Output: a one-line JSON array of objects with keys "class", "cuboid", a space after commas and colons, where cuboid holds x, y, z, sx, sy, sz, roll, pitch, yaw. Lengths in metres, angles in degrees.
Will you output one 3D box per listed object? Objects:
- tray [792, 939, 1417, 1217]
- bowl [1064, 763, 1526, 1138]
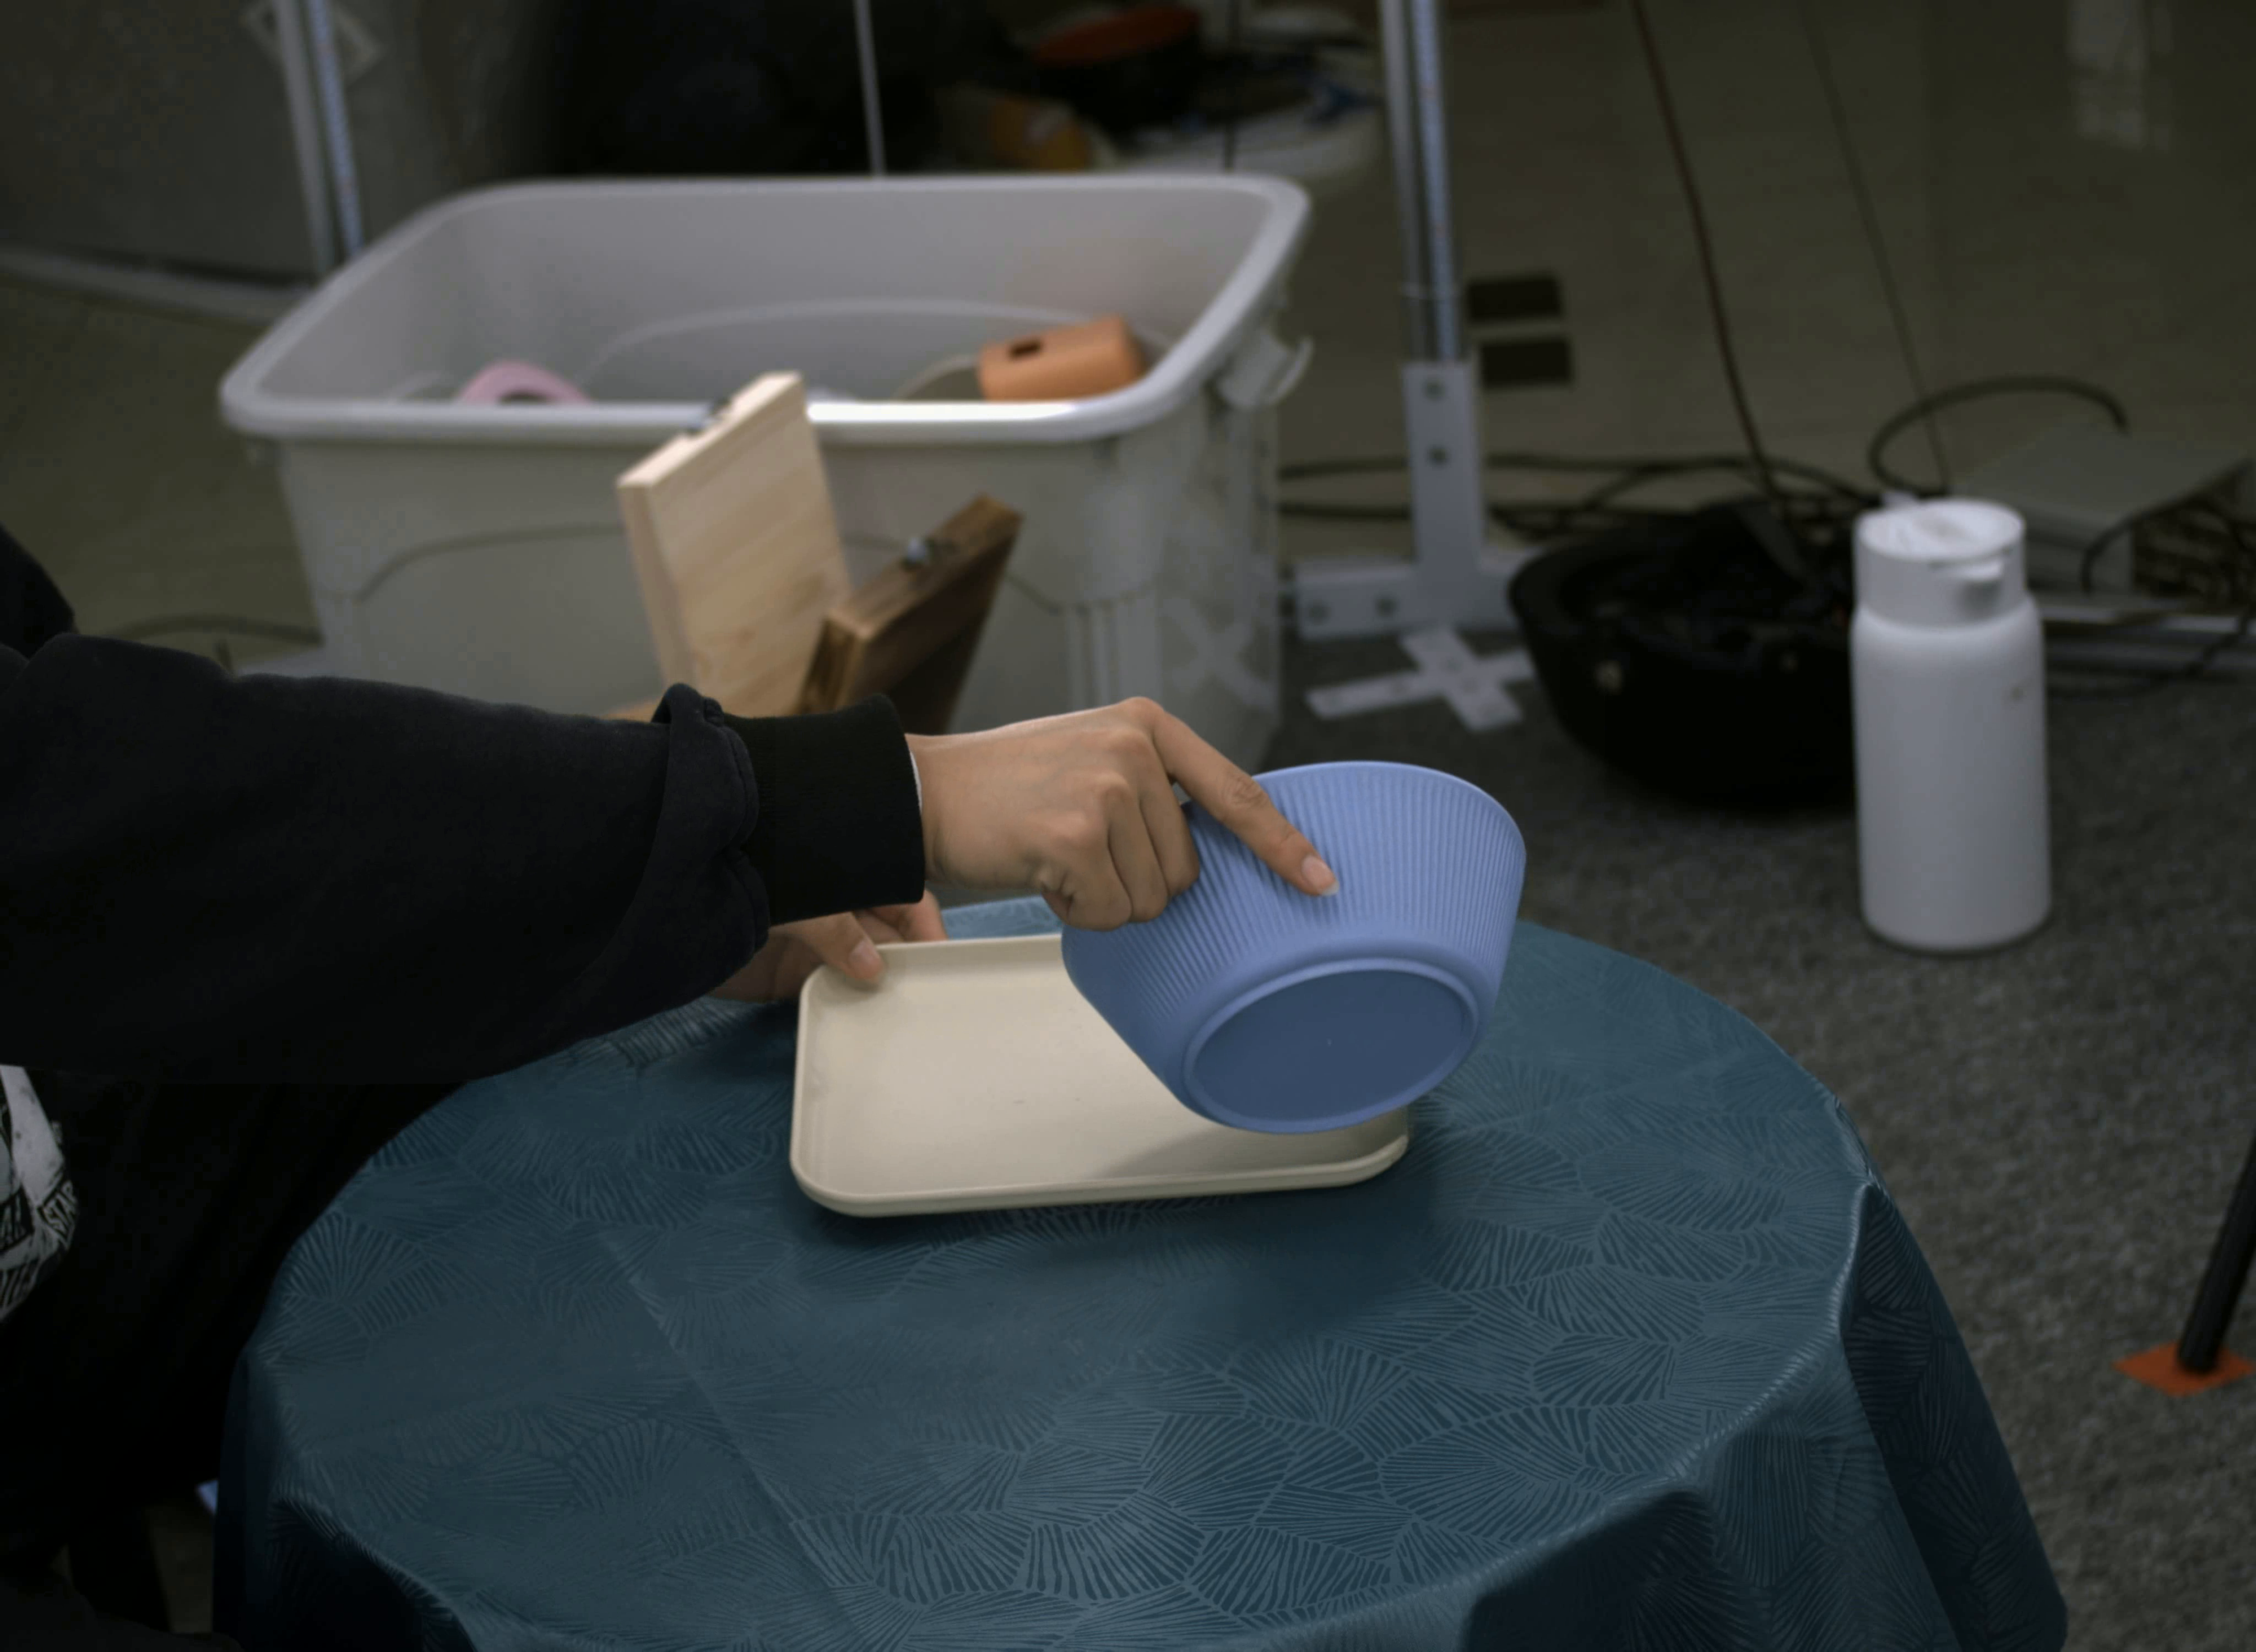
[{"class": "tray", "cuboid": [-0.010, 0.095, 2.200, 0.239, 0.018, 0.168, -4, 33, 2]}, {"class": "bowl", "cuboid": [0.068, 0.056, 2.075, 0.175, 0.179, 0.069, -9, 55, -7]}]
